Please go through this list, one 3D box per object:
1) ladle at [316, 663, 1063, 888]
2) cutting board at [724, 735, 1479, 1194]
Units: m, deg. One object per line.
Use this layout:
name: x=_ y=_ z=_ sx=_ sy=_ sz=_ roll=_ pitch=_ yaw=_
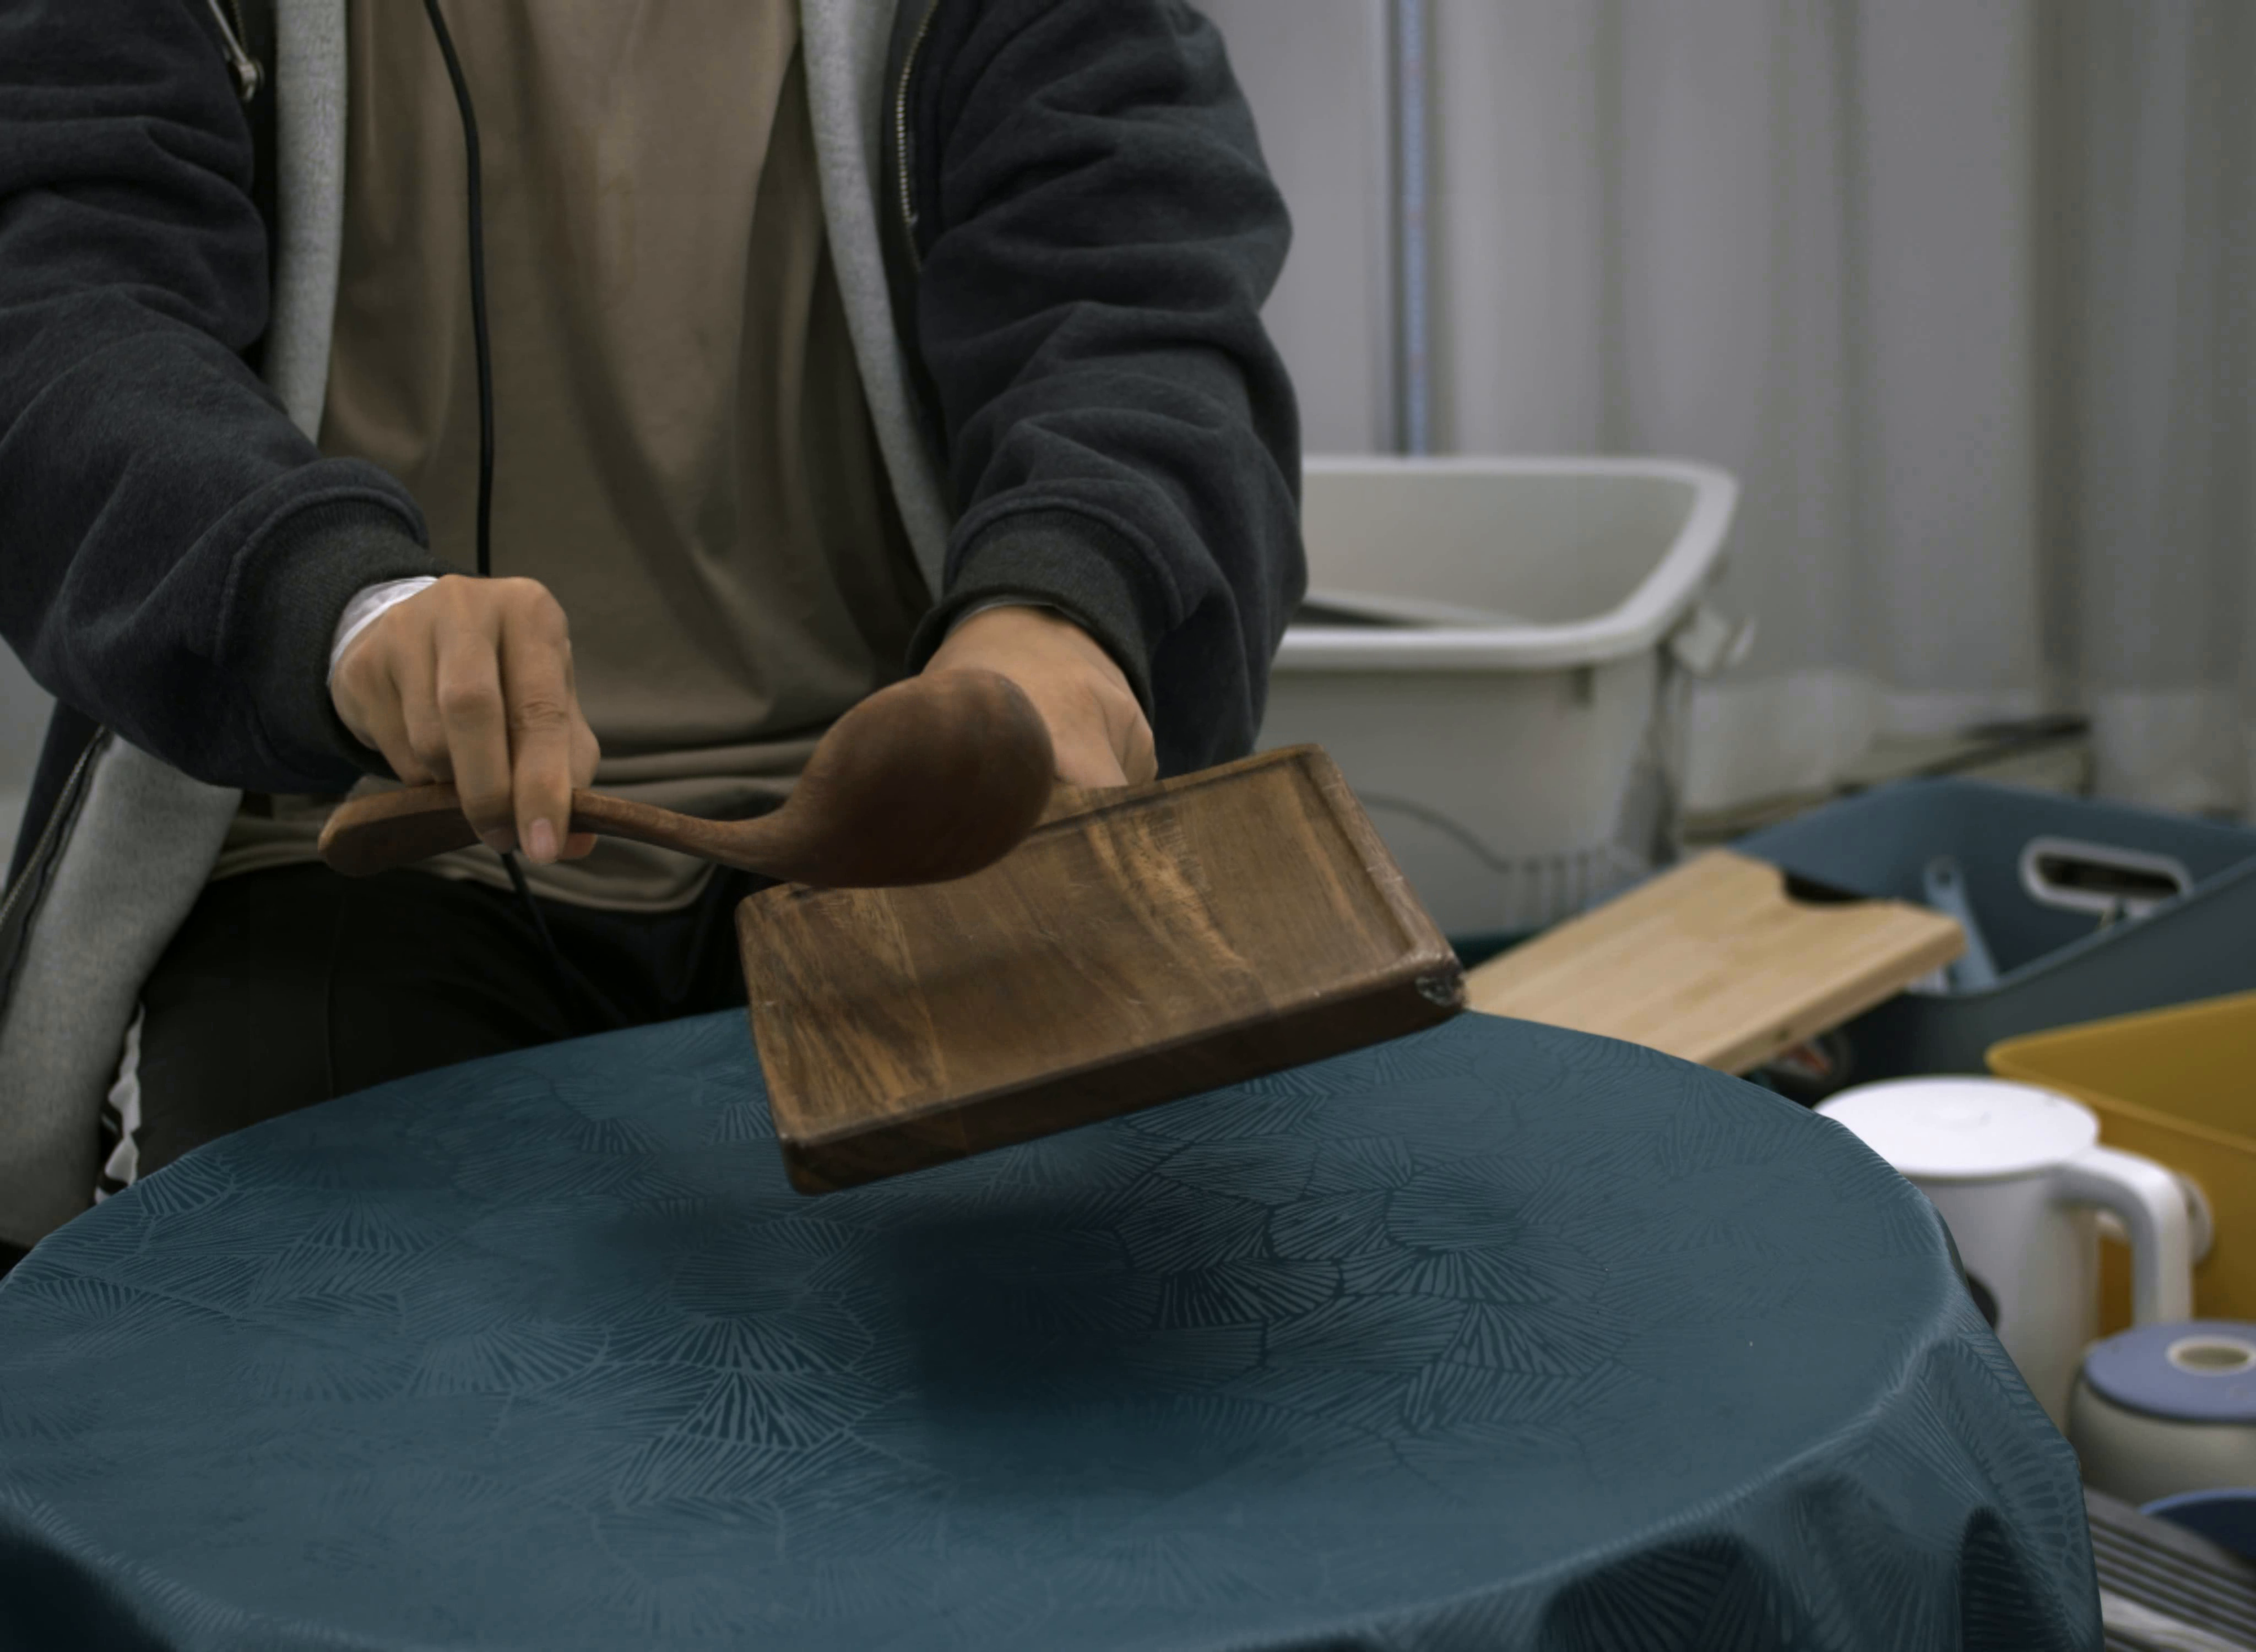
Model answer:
ladle: x=-0.136 y=-0.013 z=1.661 sx=0.261 sy=0.075 sz=0.066 roll=1 pitch=54 yaw=34
cutting board: x=-0.021 y=0.024 z=1.668 sx=0.200 sy=0.023 sz=0.355 roll=-15 pitch=17 yaw=-3
